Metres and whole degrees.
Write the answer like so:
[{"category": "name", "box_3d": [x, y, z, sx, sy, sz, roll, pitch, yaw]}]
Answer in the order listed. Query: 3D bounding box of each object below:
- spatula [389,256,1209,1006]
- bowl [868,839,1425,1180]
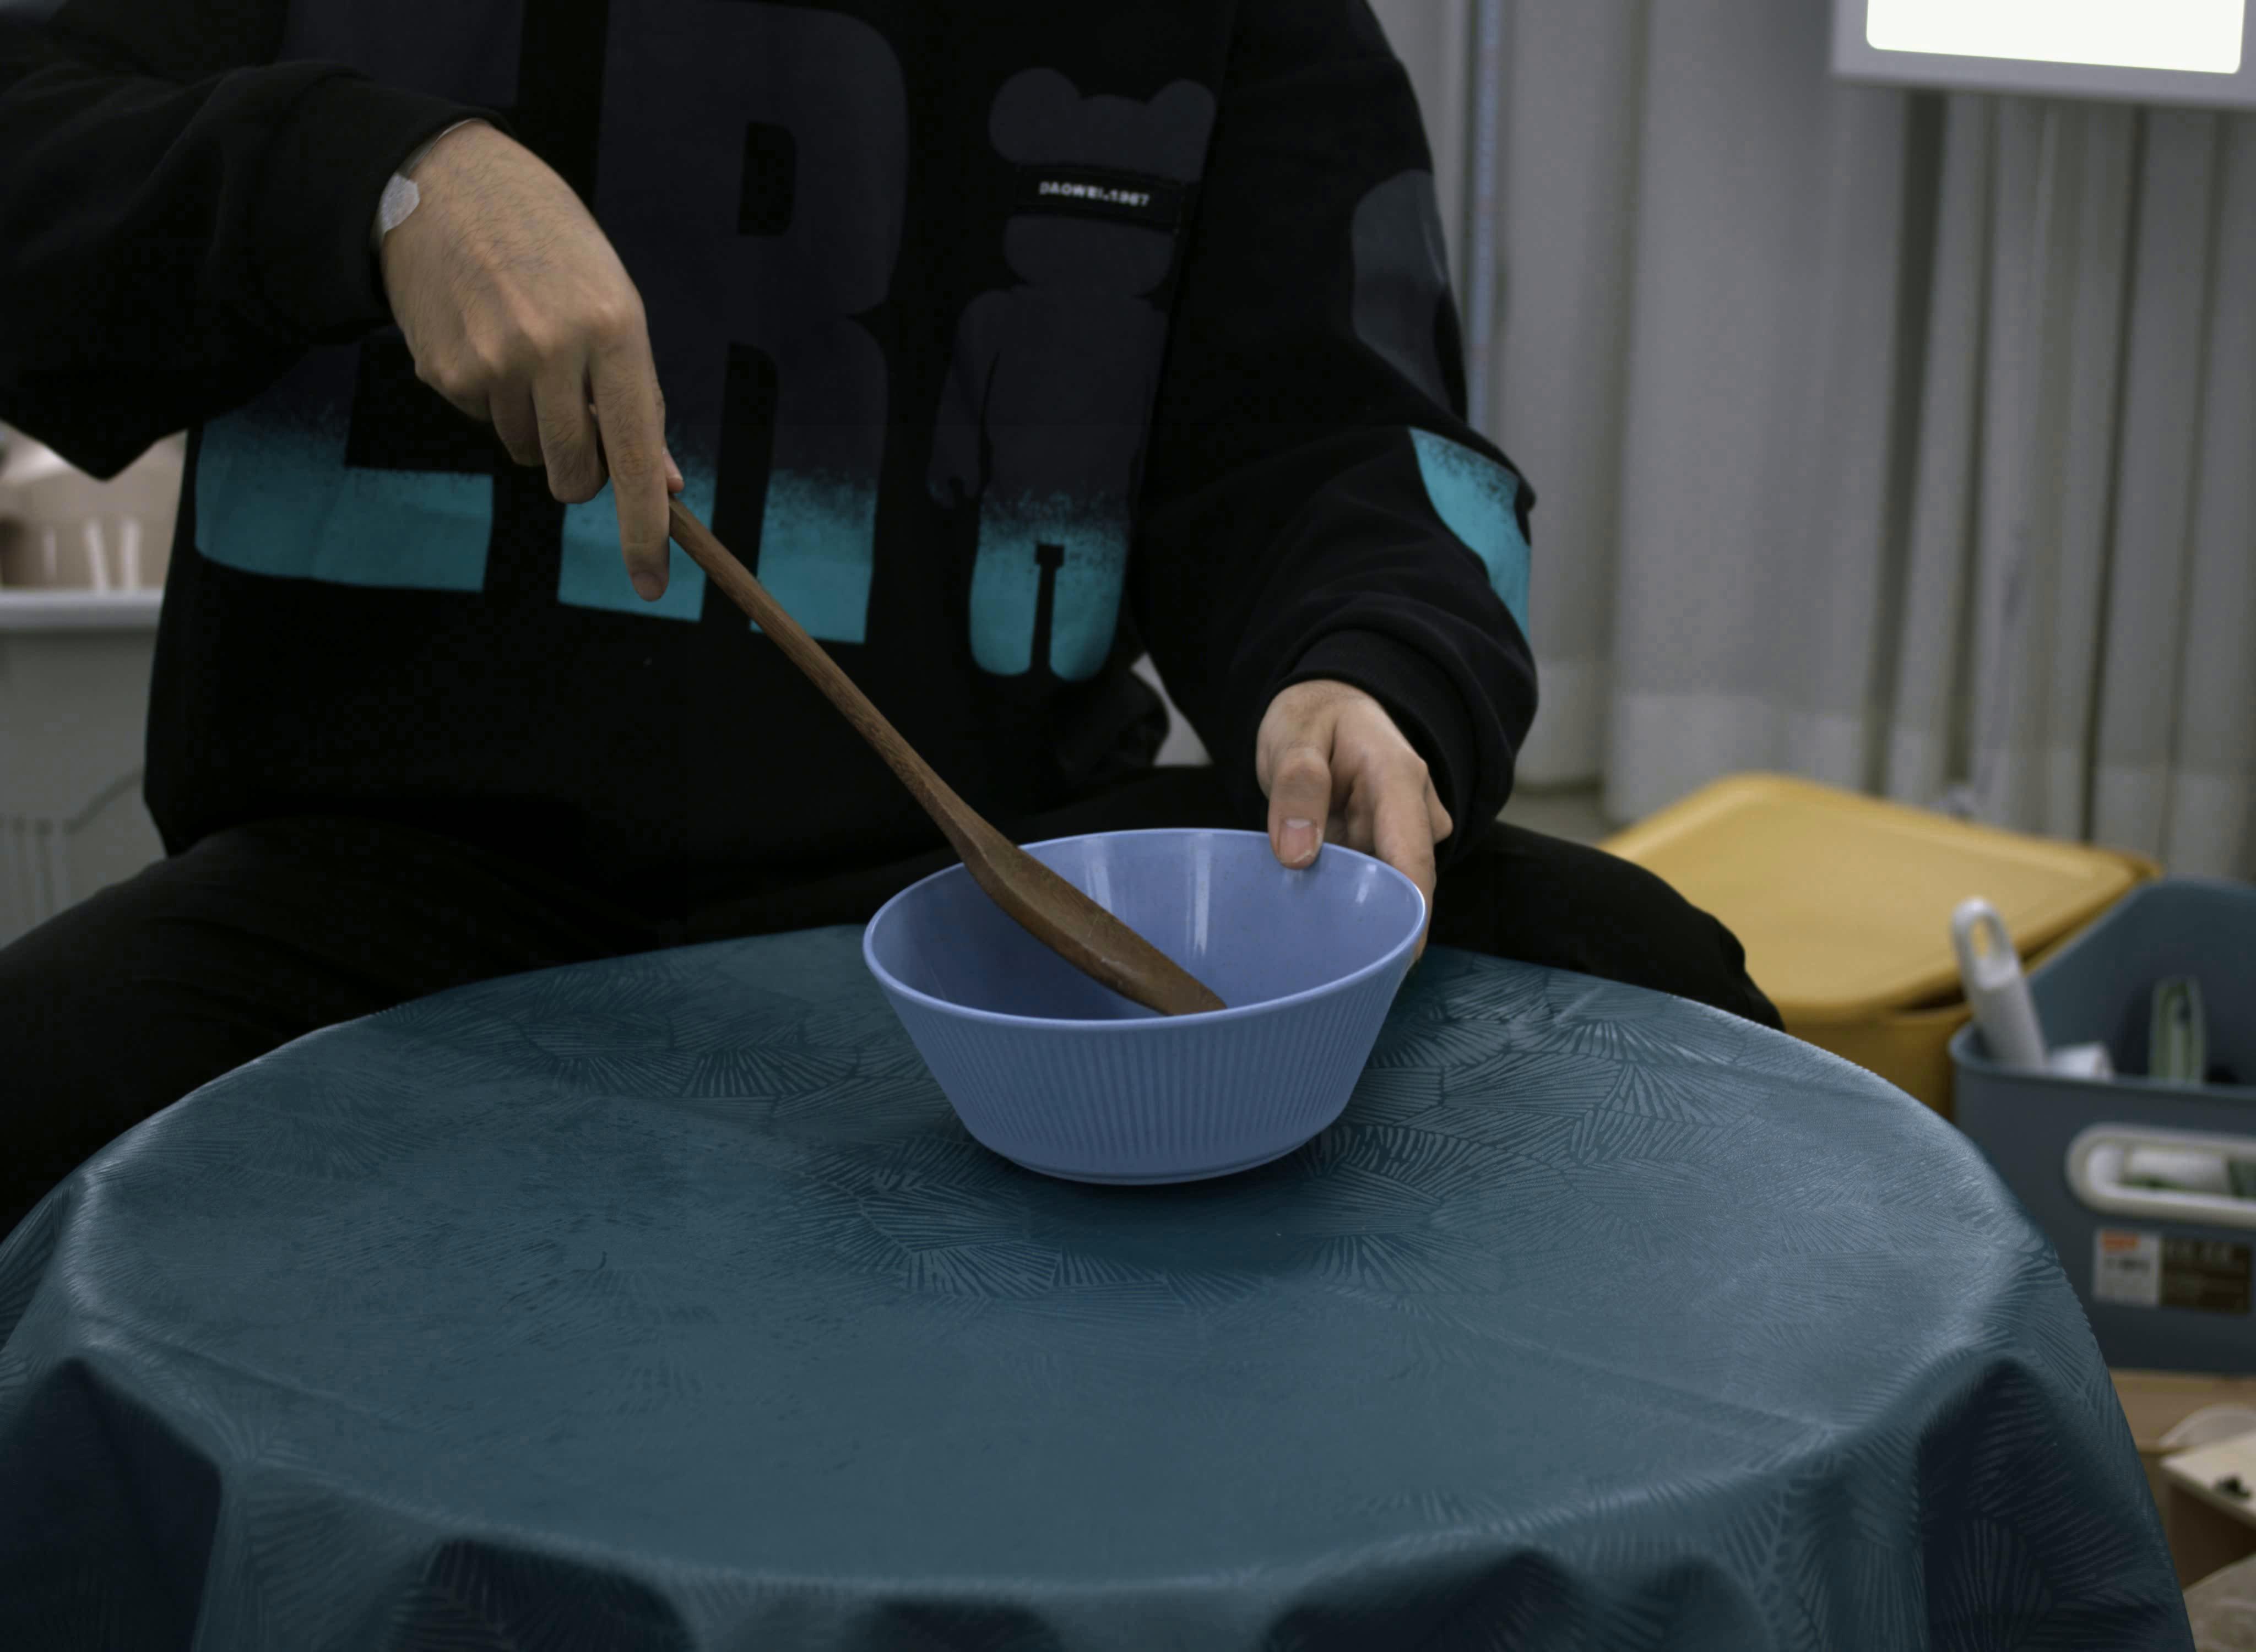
[{"category": "spatula", "box_3d": [-0.110, -0.063, 1.704, 0.383, 0.016, 0.097, 44, 9, 16]}, {"category": "bowl", "box_3d": [0.008, 0.060, 1.652, 0.175, 0.071, 0.175, -3, 17, 1]}]
